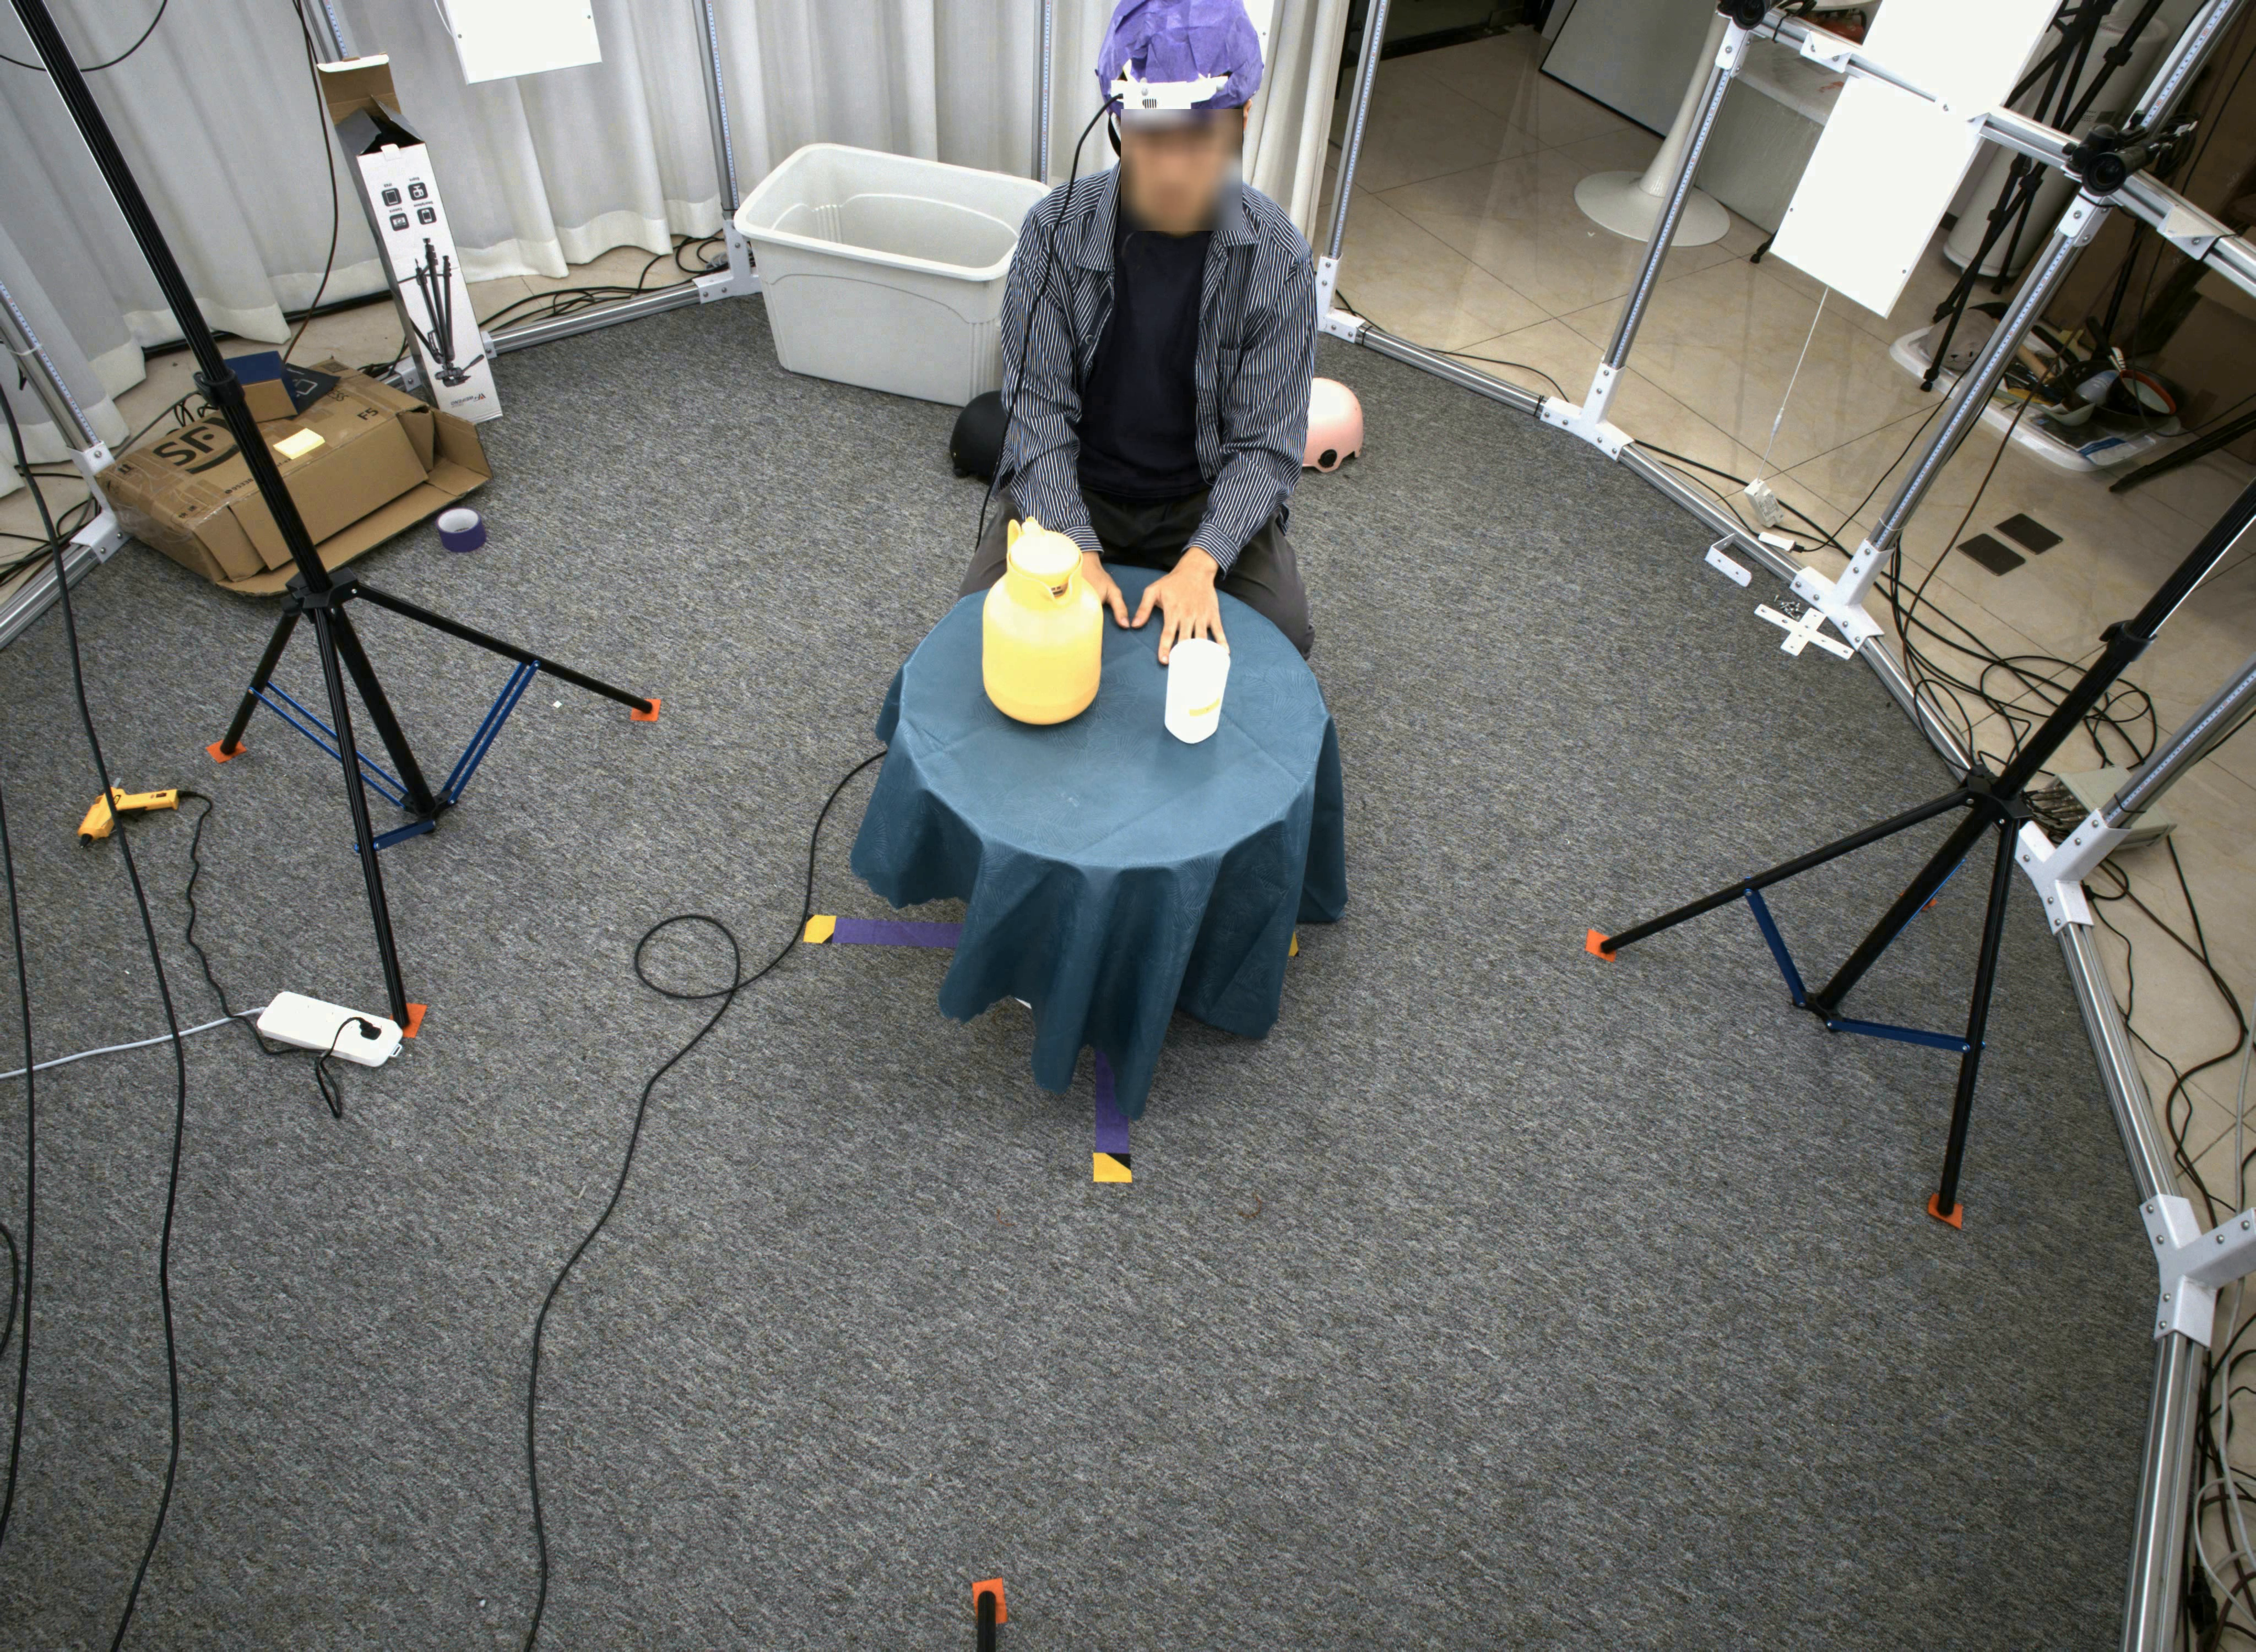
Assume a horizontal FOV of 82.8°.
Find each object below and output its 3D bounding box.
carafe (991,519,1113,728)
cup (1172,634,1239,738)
[{"bbox_3d":[-0.107,-0.279,1.725,0.163,0.254,0.207,-14,51,-19],"label":"carafe"},{"bbox_3d":[0.103,-0.188,1.747,0.081,0.122,0.084,2,49,-3],"label":"cup"}]
